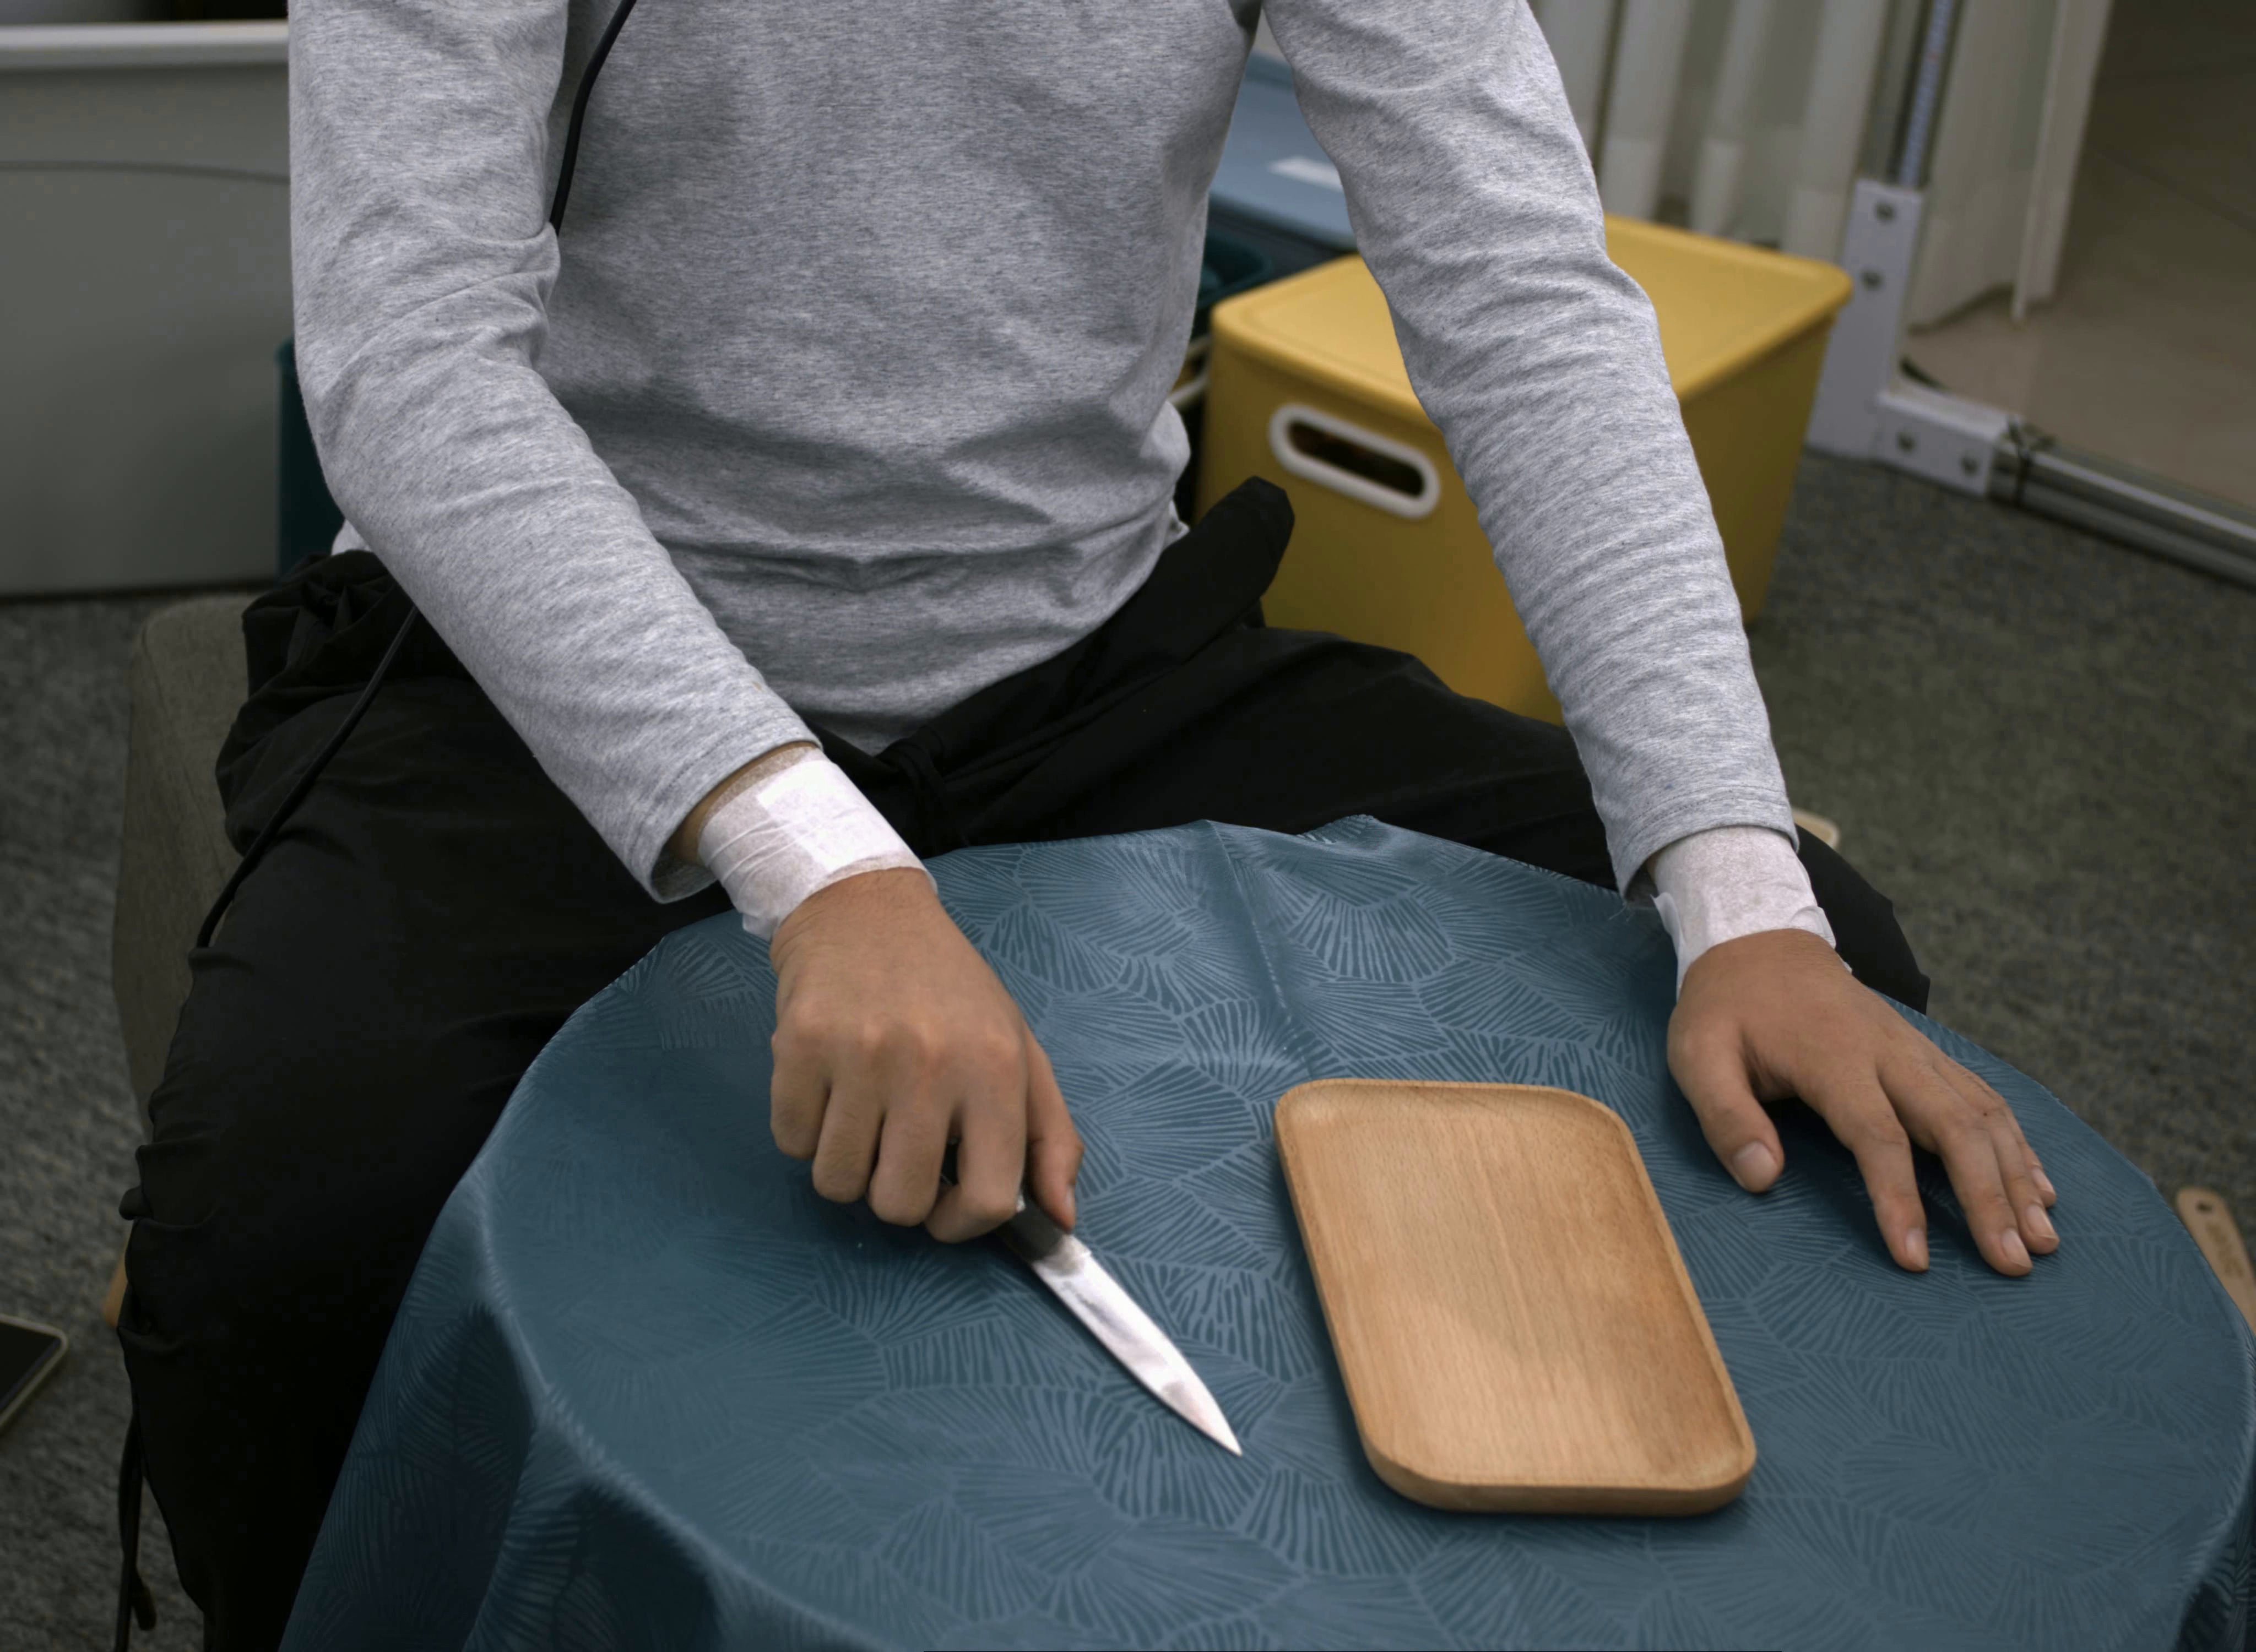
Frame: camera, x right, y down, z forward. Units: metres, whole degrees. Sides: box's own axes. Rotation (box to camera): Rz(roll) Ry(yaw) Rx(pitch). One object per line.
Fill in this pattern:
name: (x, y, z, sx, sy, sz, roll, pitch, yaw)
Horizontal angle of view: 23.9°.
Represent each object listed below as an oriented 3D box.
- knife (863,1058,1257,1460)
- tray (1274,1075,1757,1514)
knife: (-0.026, 0.142, 1.750, 0.024, 0.016, 0.240, -11, 35, -31)
tray: (0.124, 0.152, 1.759, 0.130, 0.023, 0.252, 5, 26, -9)
